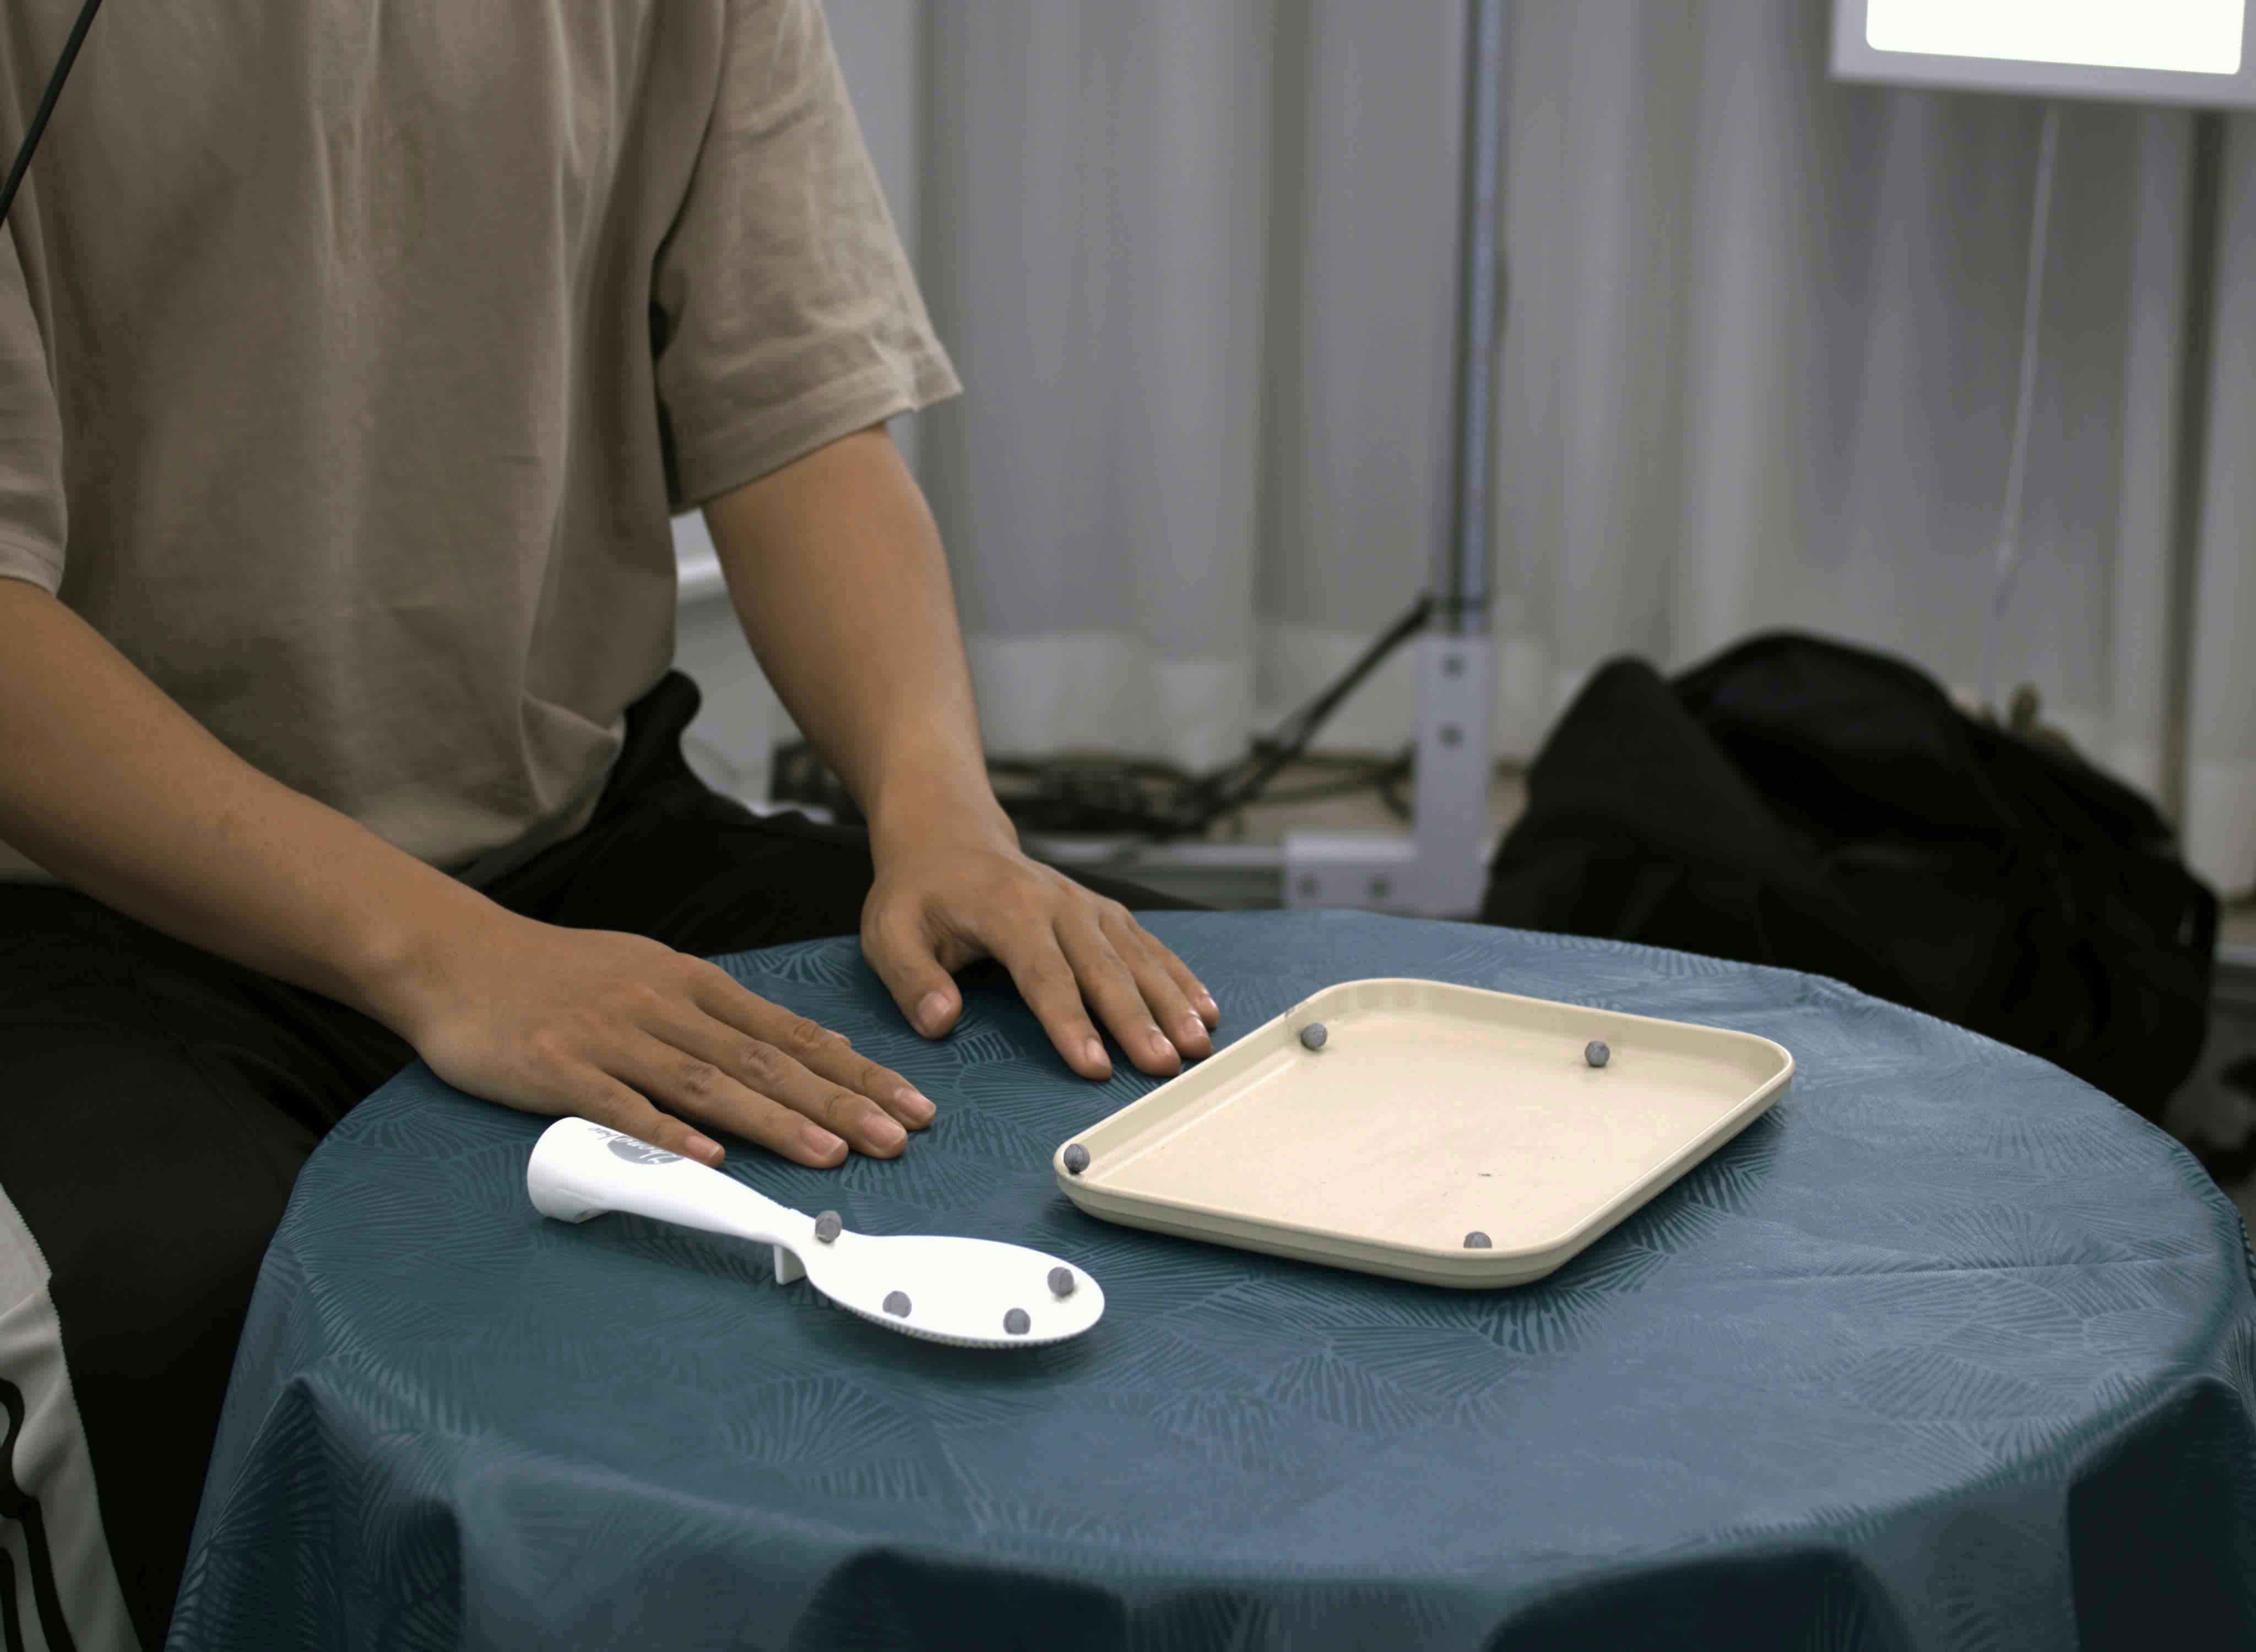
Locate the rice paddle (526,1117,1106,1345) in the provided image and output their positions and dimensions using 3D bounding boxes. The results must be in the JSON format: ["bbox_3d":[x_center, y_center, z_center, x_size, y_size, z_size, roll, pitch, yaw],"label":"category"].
[{"bbox_3d":[-0.092,0.120,1.536,0.202,0.029,0.069,13,21,36],"label":"rice paddle"}]

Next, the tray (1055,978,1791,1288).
[{"bbox_3d":[0.096,0.095,1.660,0.169,0.017,0.240,9,18,26],"label":"tray"}]
